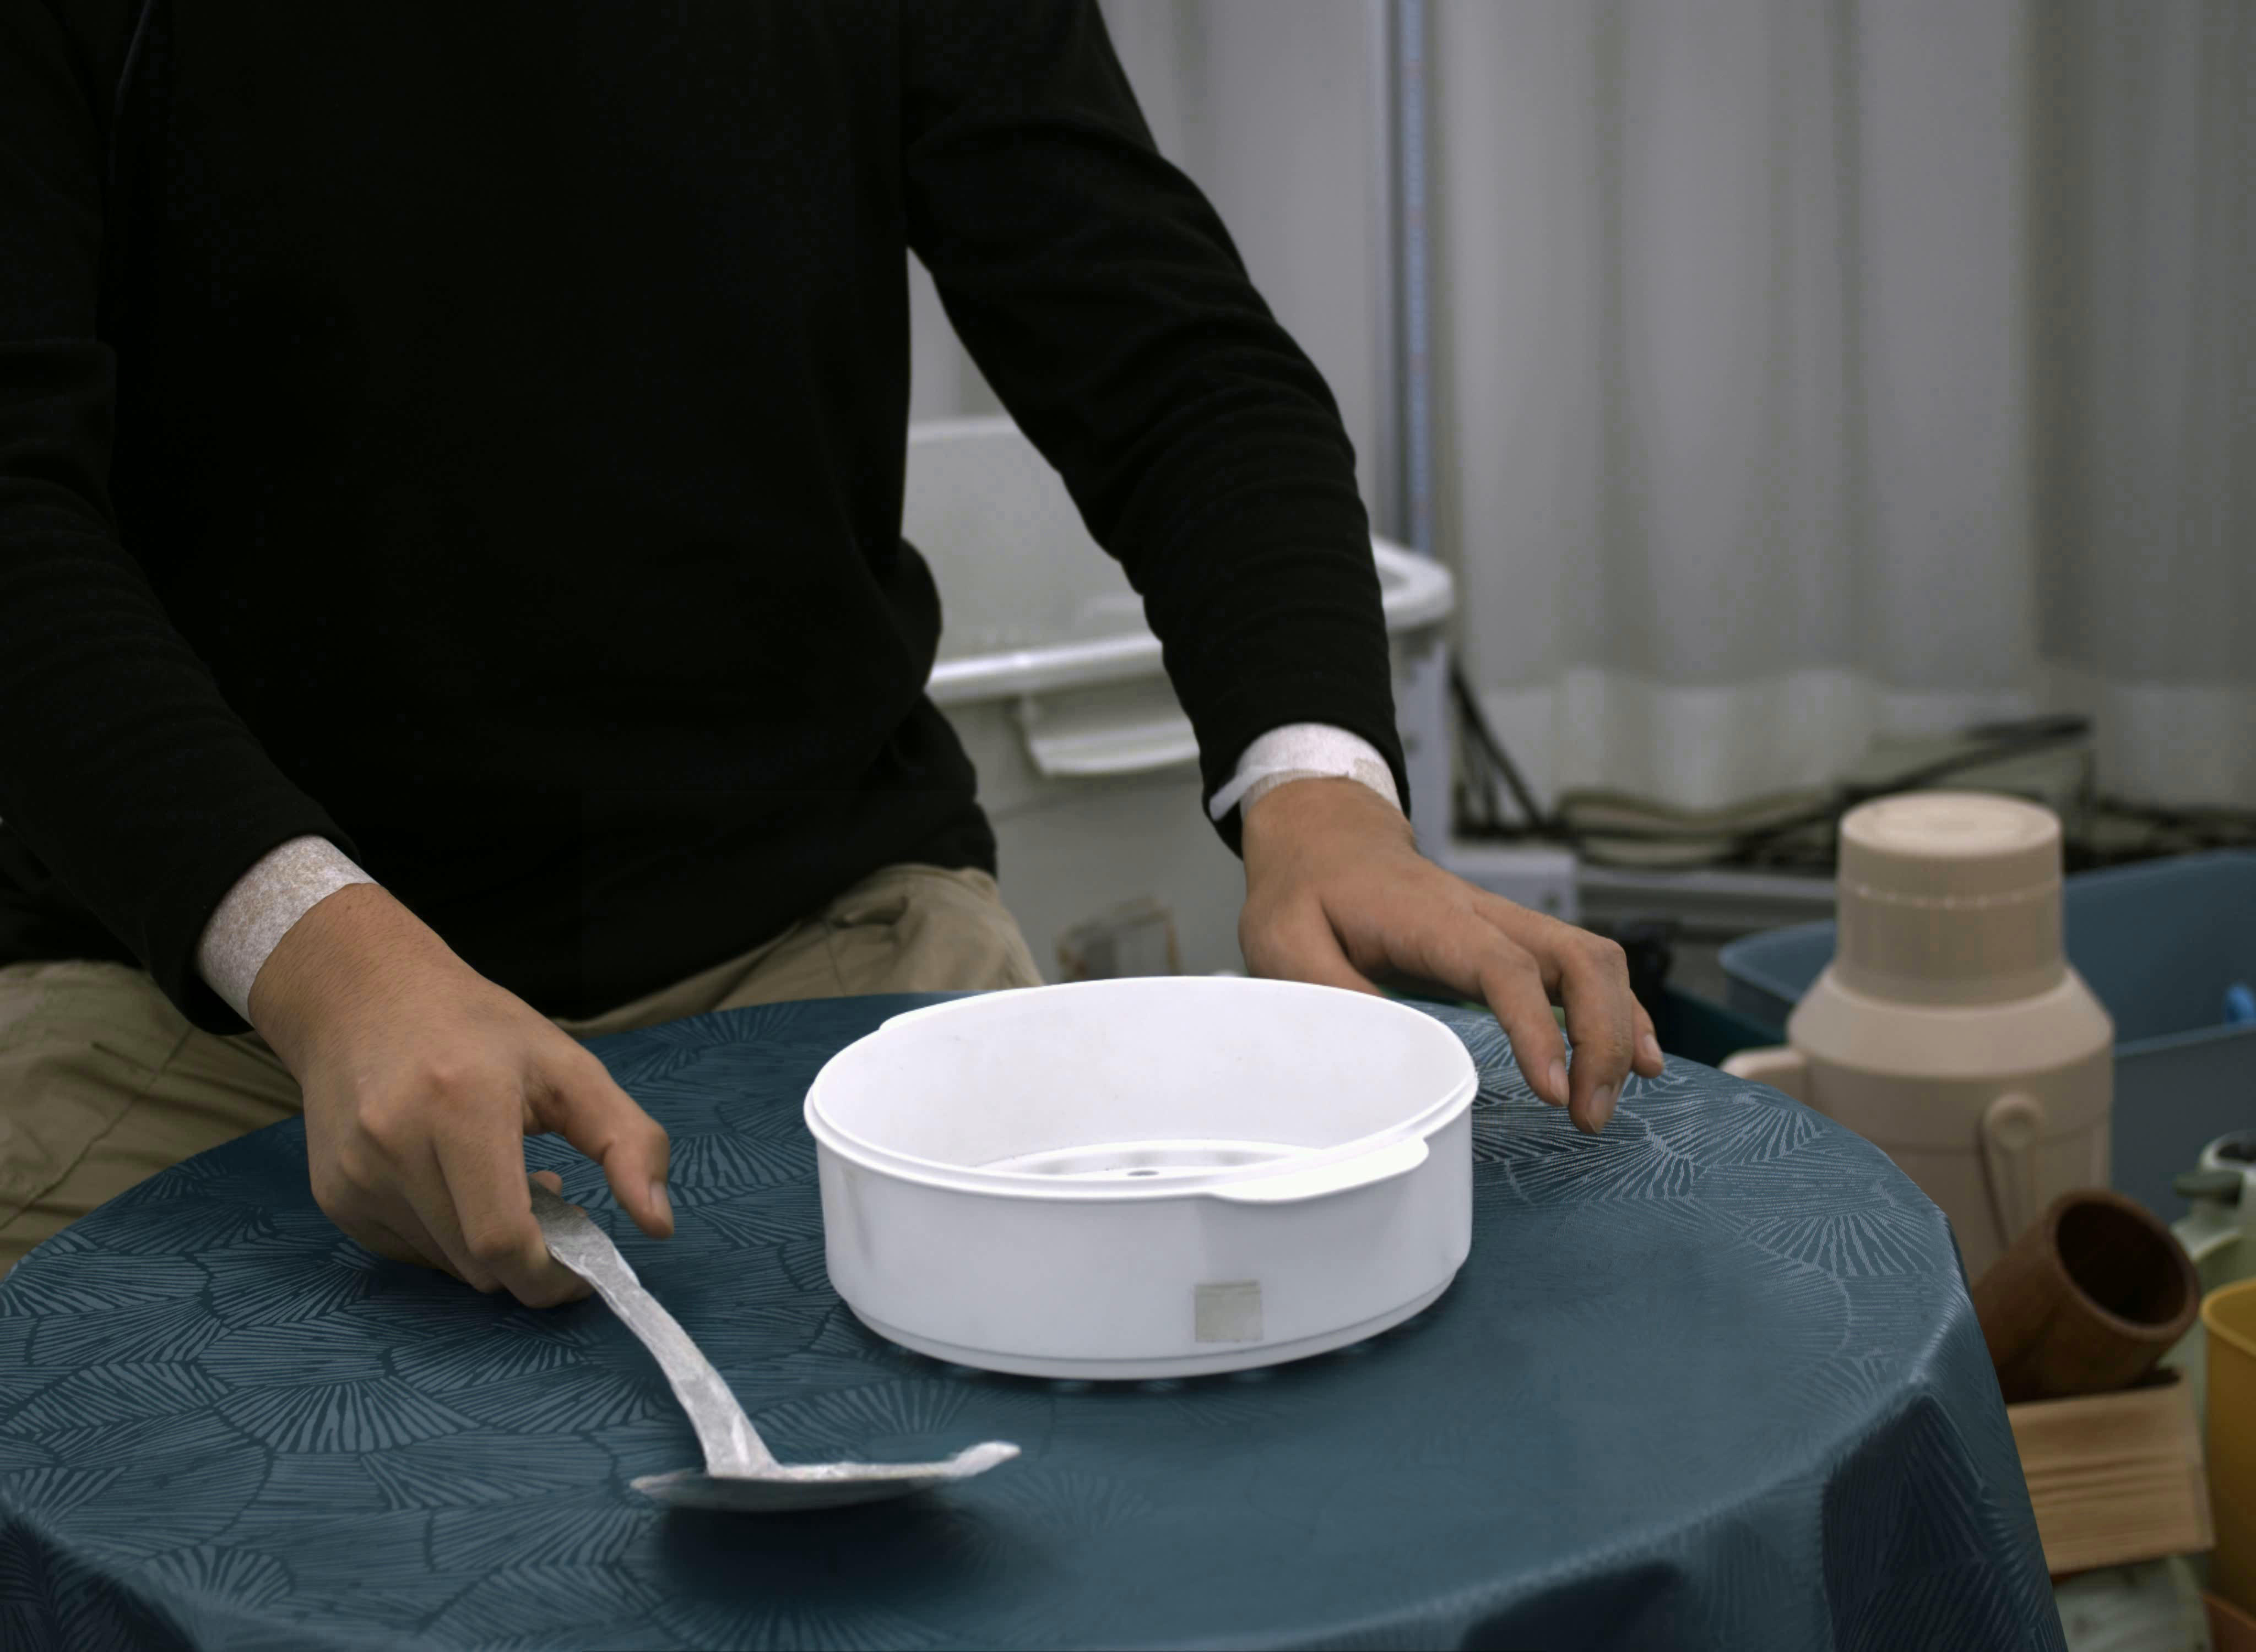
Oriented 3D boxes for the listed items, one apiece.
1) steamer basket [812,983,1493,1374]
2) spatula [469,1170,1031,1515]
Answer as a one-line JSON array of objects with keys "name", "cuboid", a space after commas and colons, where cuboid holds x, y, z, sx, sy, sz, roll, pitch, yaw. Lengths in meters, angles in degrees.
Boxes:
[{"name": "steamer basket", "cuboid": [0.008, 0.104, 1.617, 0.201, 0.069, 0.232, -10, 16, -29]}, {"name": "spatula", "cuboid": [-0.134, 0.138, 1.561, 0.098, 0.044, 0.368, -3, 16, -23]}]
